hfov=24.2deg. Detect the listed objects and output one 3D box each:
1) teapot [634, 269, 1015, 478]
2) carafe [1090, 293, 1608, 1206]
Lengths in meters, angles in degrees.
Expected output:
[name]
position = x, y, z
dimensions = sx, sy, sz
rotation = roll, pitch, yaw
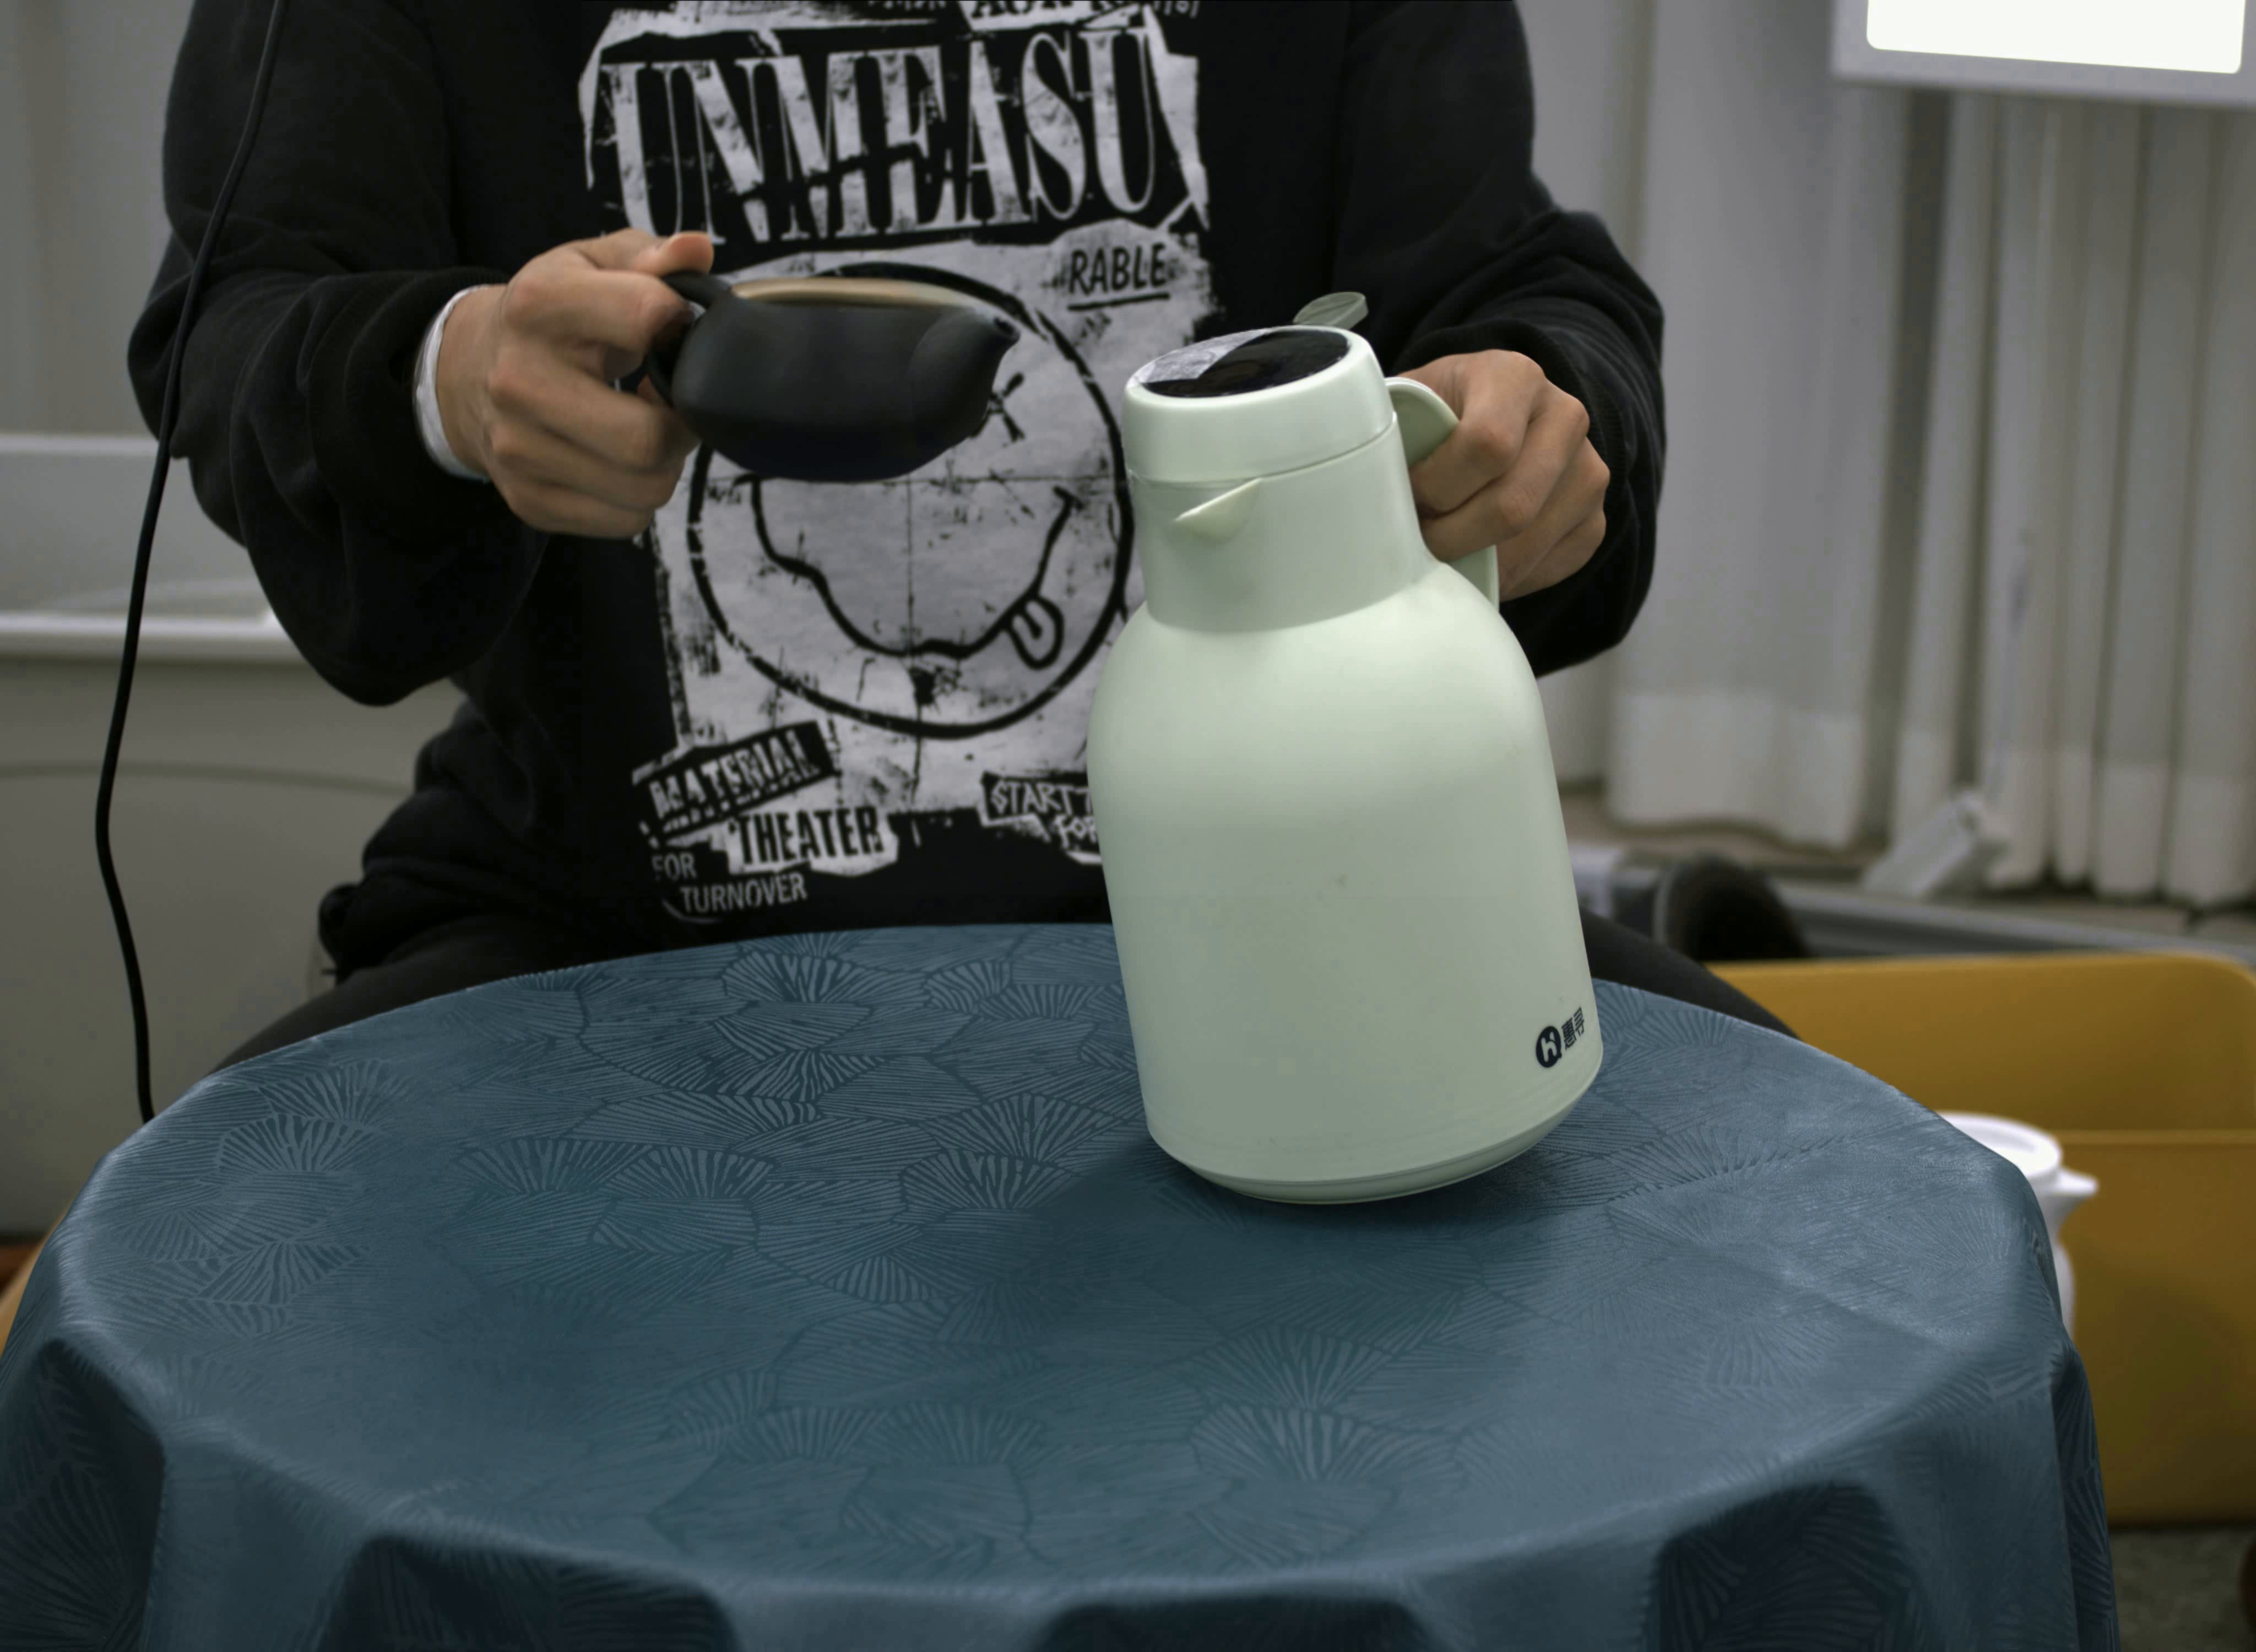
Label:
[teapot]
position = -0.092, -0.133, 1.555
dimensions = 0.131, 0.053, 0.091
rotation = 12, 15, 29
[carafe]
position = 0.066, -0.028, 1.619
dimensions = 0.142, 0.259, 0.187
rotation = 1, 20, 30
